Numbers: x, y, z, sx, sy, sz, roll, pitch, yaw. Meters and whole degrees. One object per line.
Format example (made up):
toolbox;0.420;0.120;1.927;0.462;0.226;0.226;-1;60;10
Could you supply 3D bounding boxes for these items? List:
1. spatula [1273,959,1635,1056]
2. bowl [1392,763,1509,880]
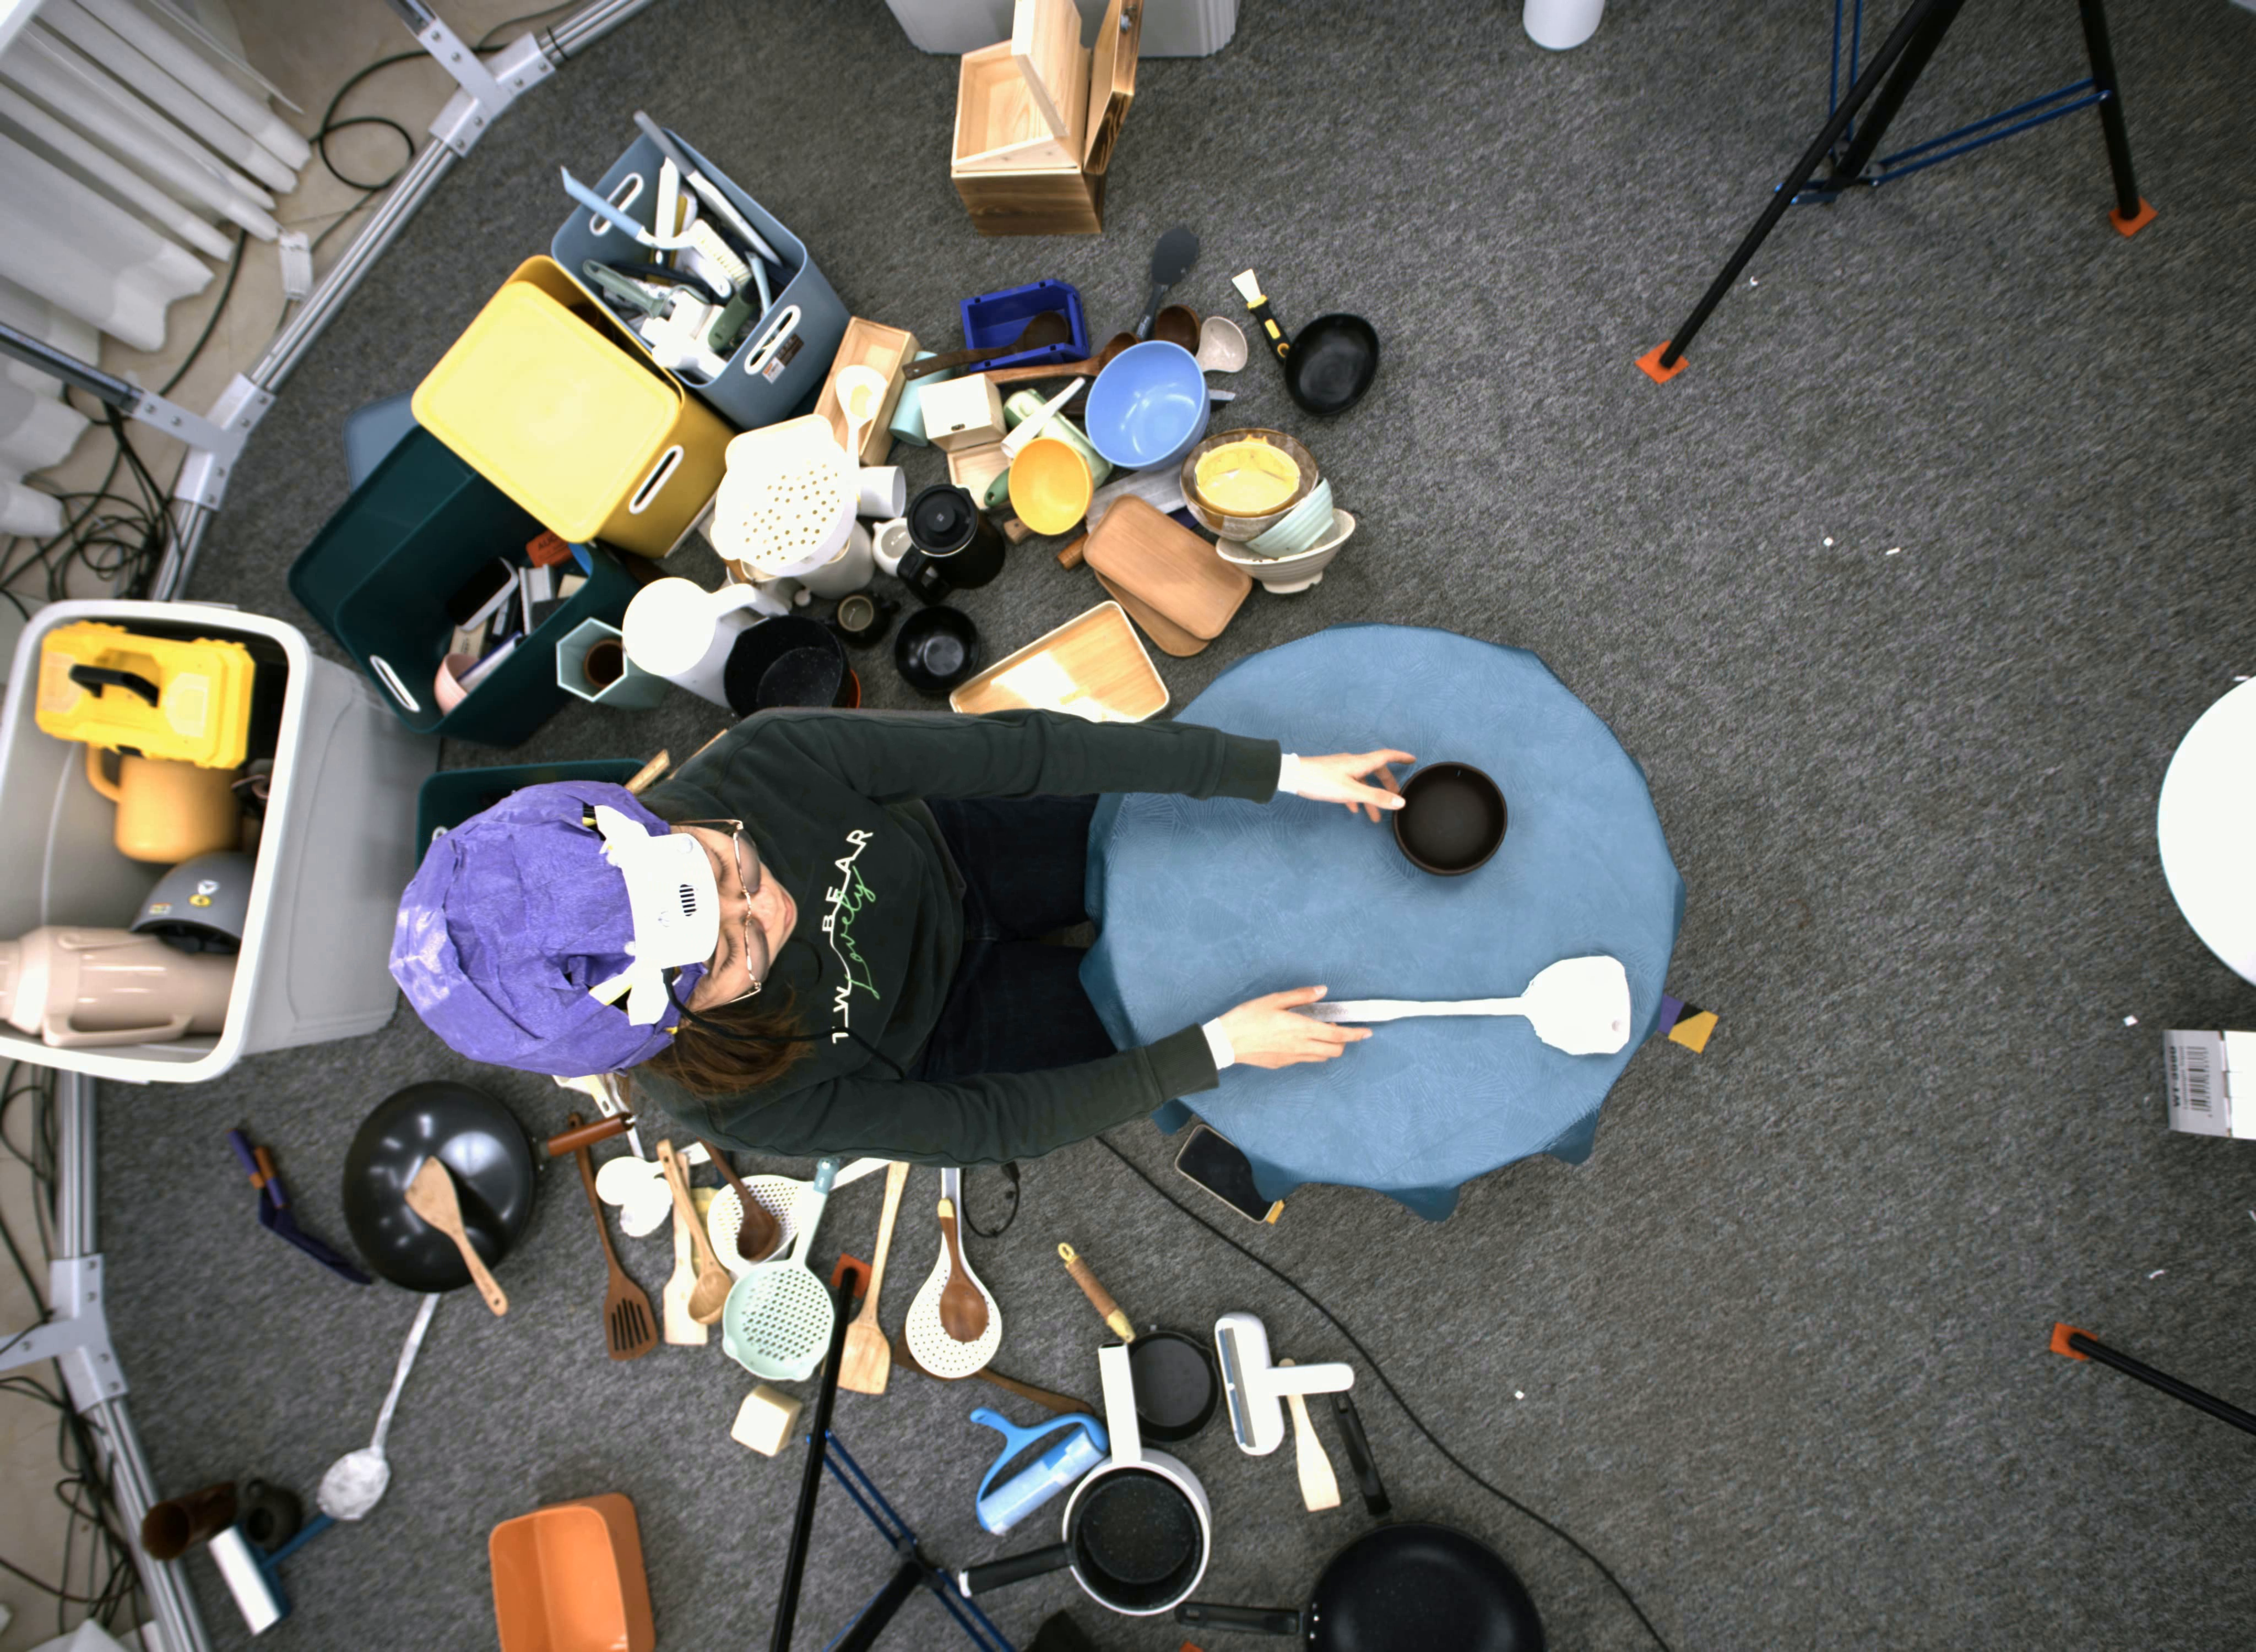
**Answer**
spatula;0.331;0.185;1.426;0.366;0.045;0.098;-2;87;10
bowl;0.332;-0.004;1.422;0.118;0.070;0.117;-1;83;11
